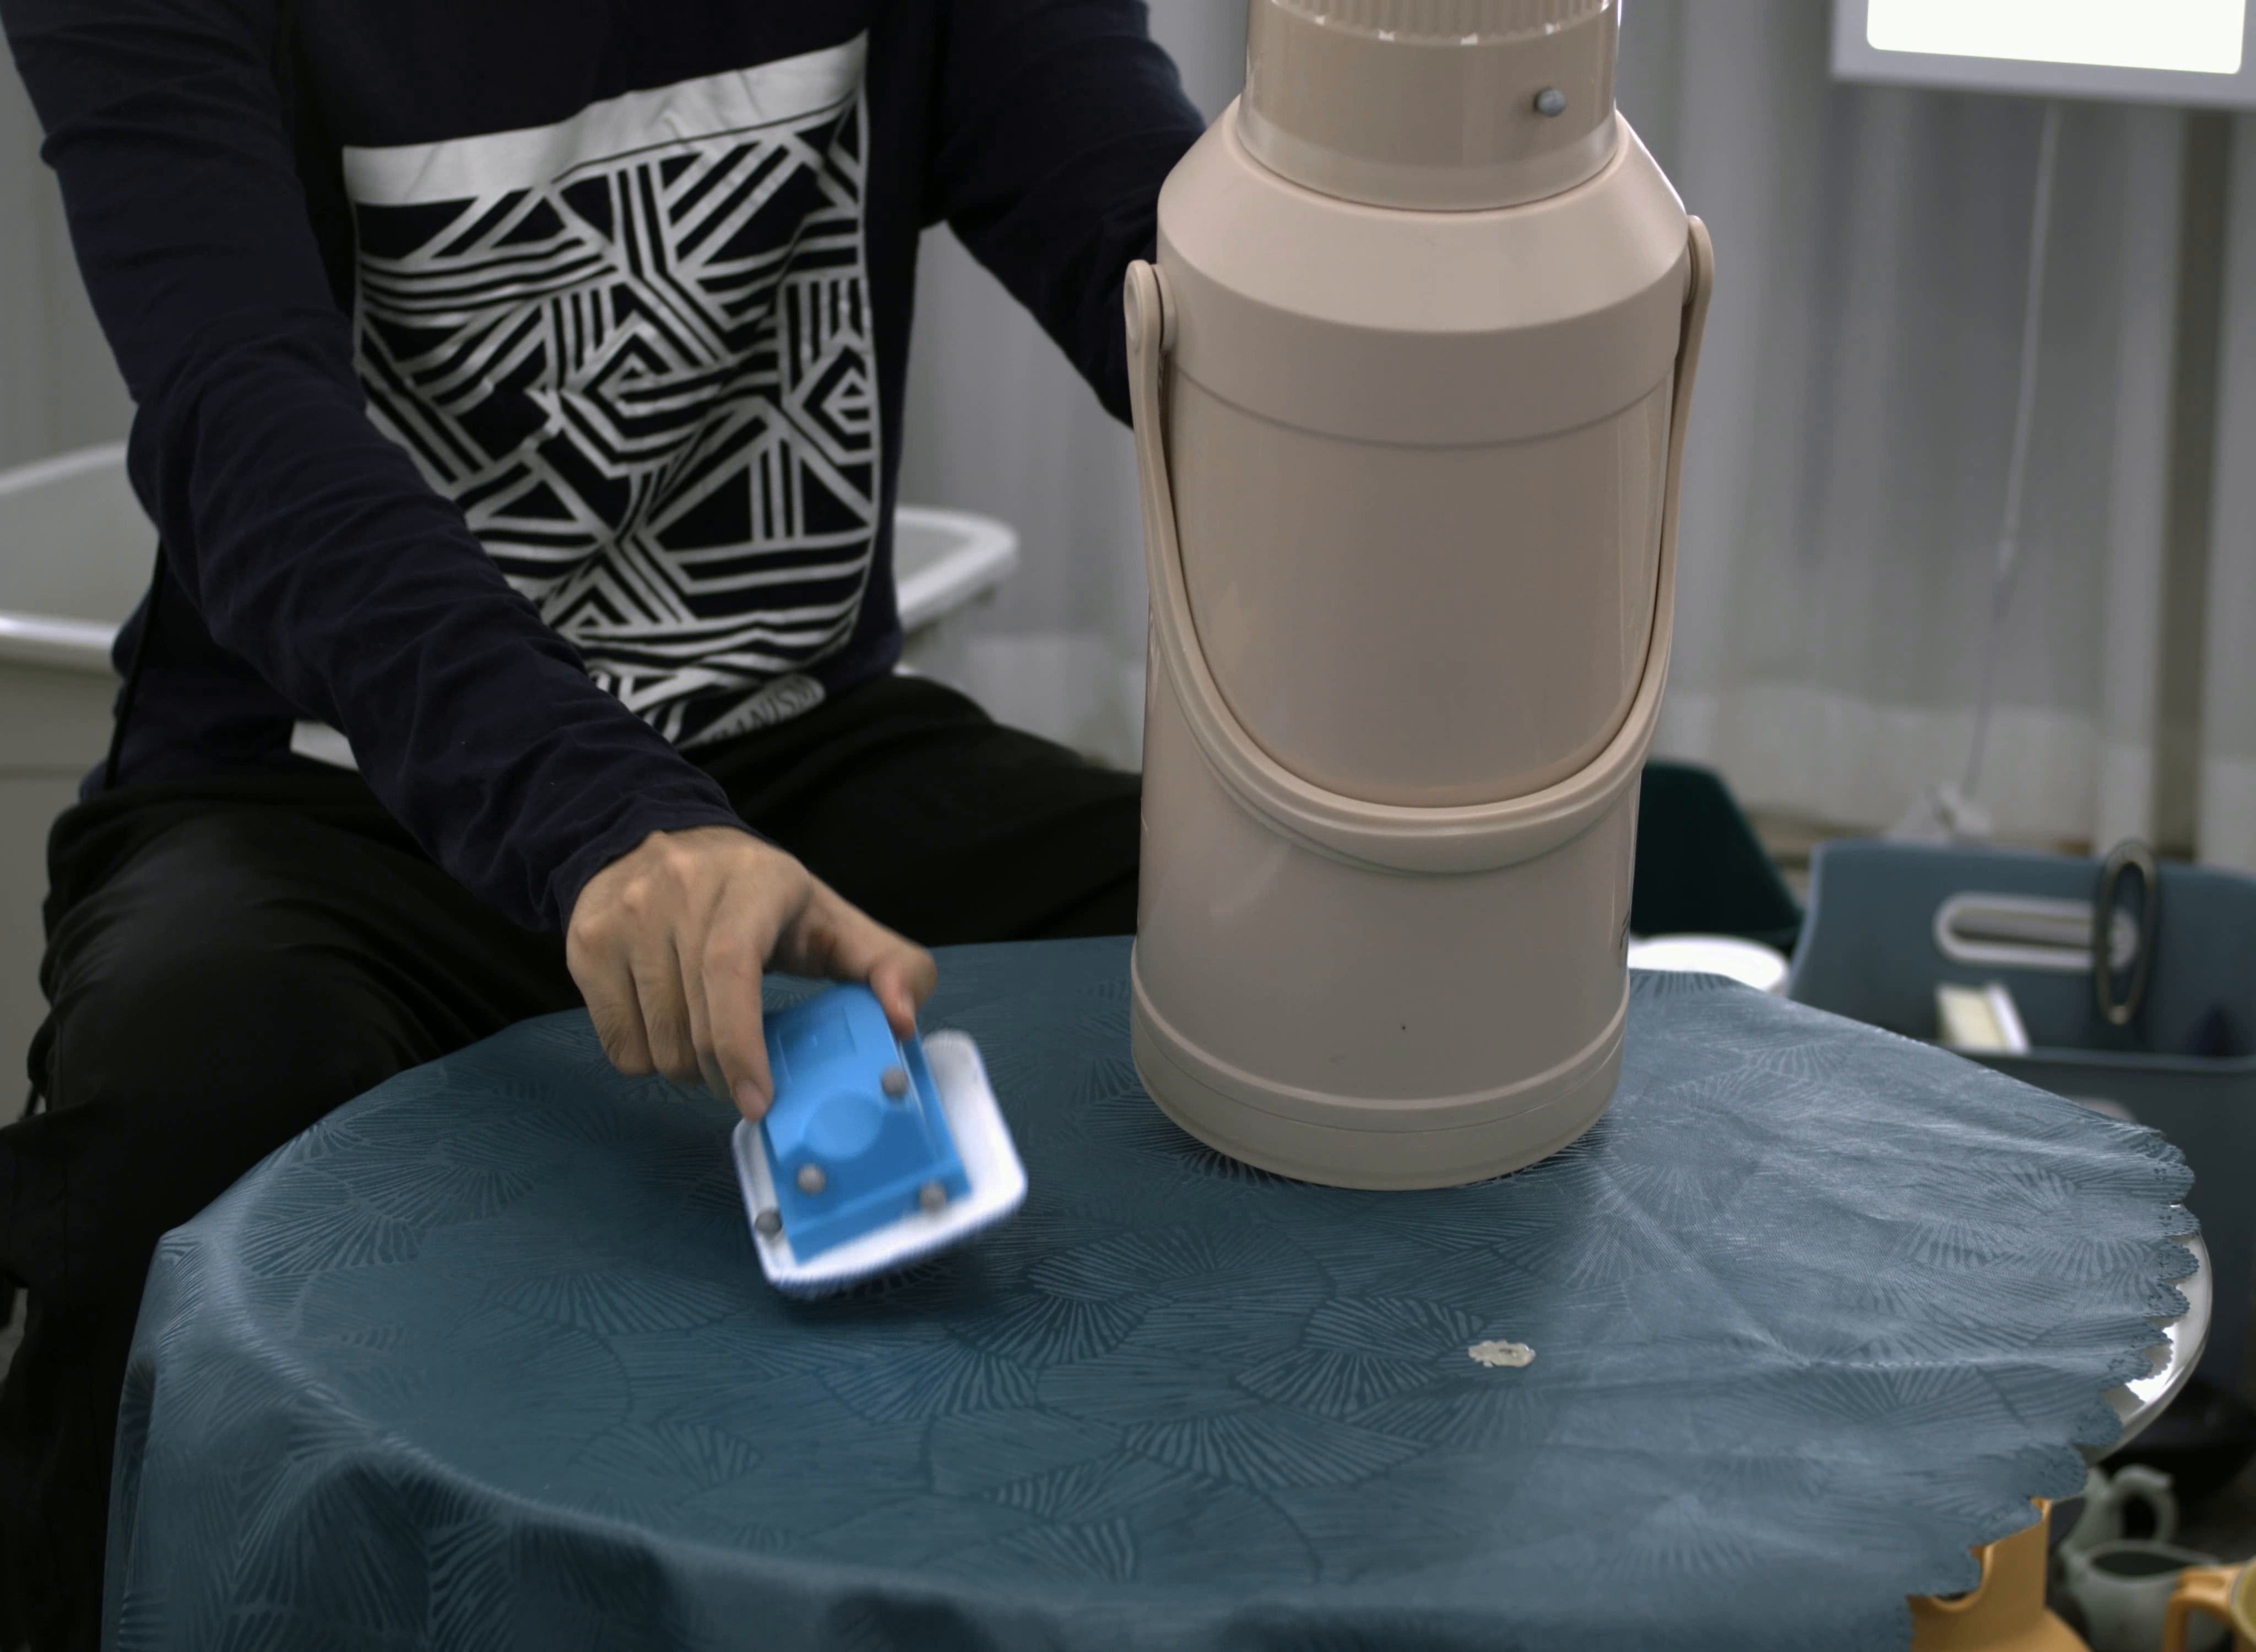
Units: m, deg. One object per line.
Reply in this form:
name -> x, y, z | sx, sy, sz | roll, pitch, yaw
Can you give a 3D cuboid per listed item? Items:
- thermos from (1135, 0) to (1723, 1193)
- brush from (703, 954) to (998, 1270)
thermos -> 0.086, -0.104, 1.600 | 0.175, 0.411, 0.204 | -8, 32, -12
brush -> -0.086, 0.081, 1.566 | 0.083, 0.056, 0.142 | -16, 23, -3
